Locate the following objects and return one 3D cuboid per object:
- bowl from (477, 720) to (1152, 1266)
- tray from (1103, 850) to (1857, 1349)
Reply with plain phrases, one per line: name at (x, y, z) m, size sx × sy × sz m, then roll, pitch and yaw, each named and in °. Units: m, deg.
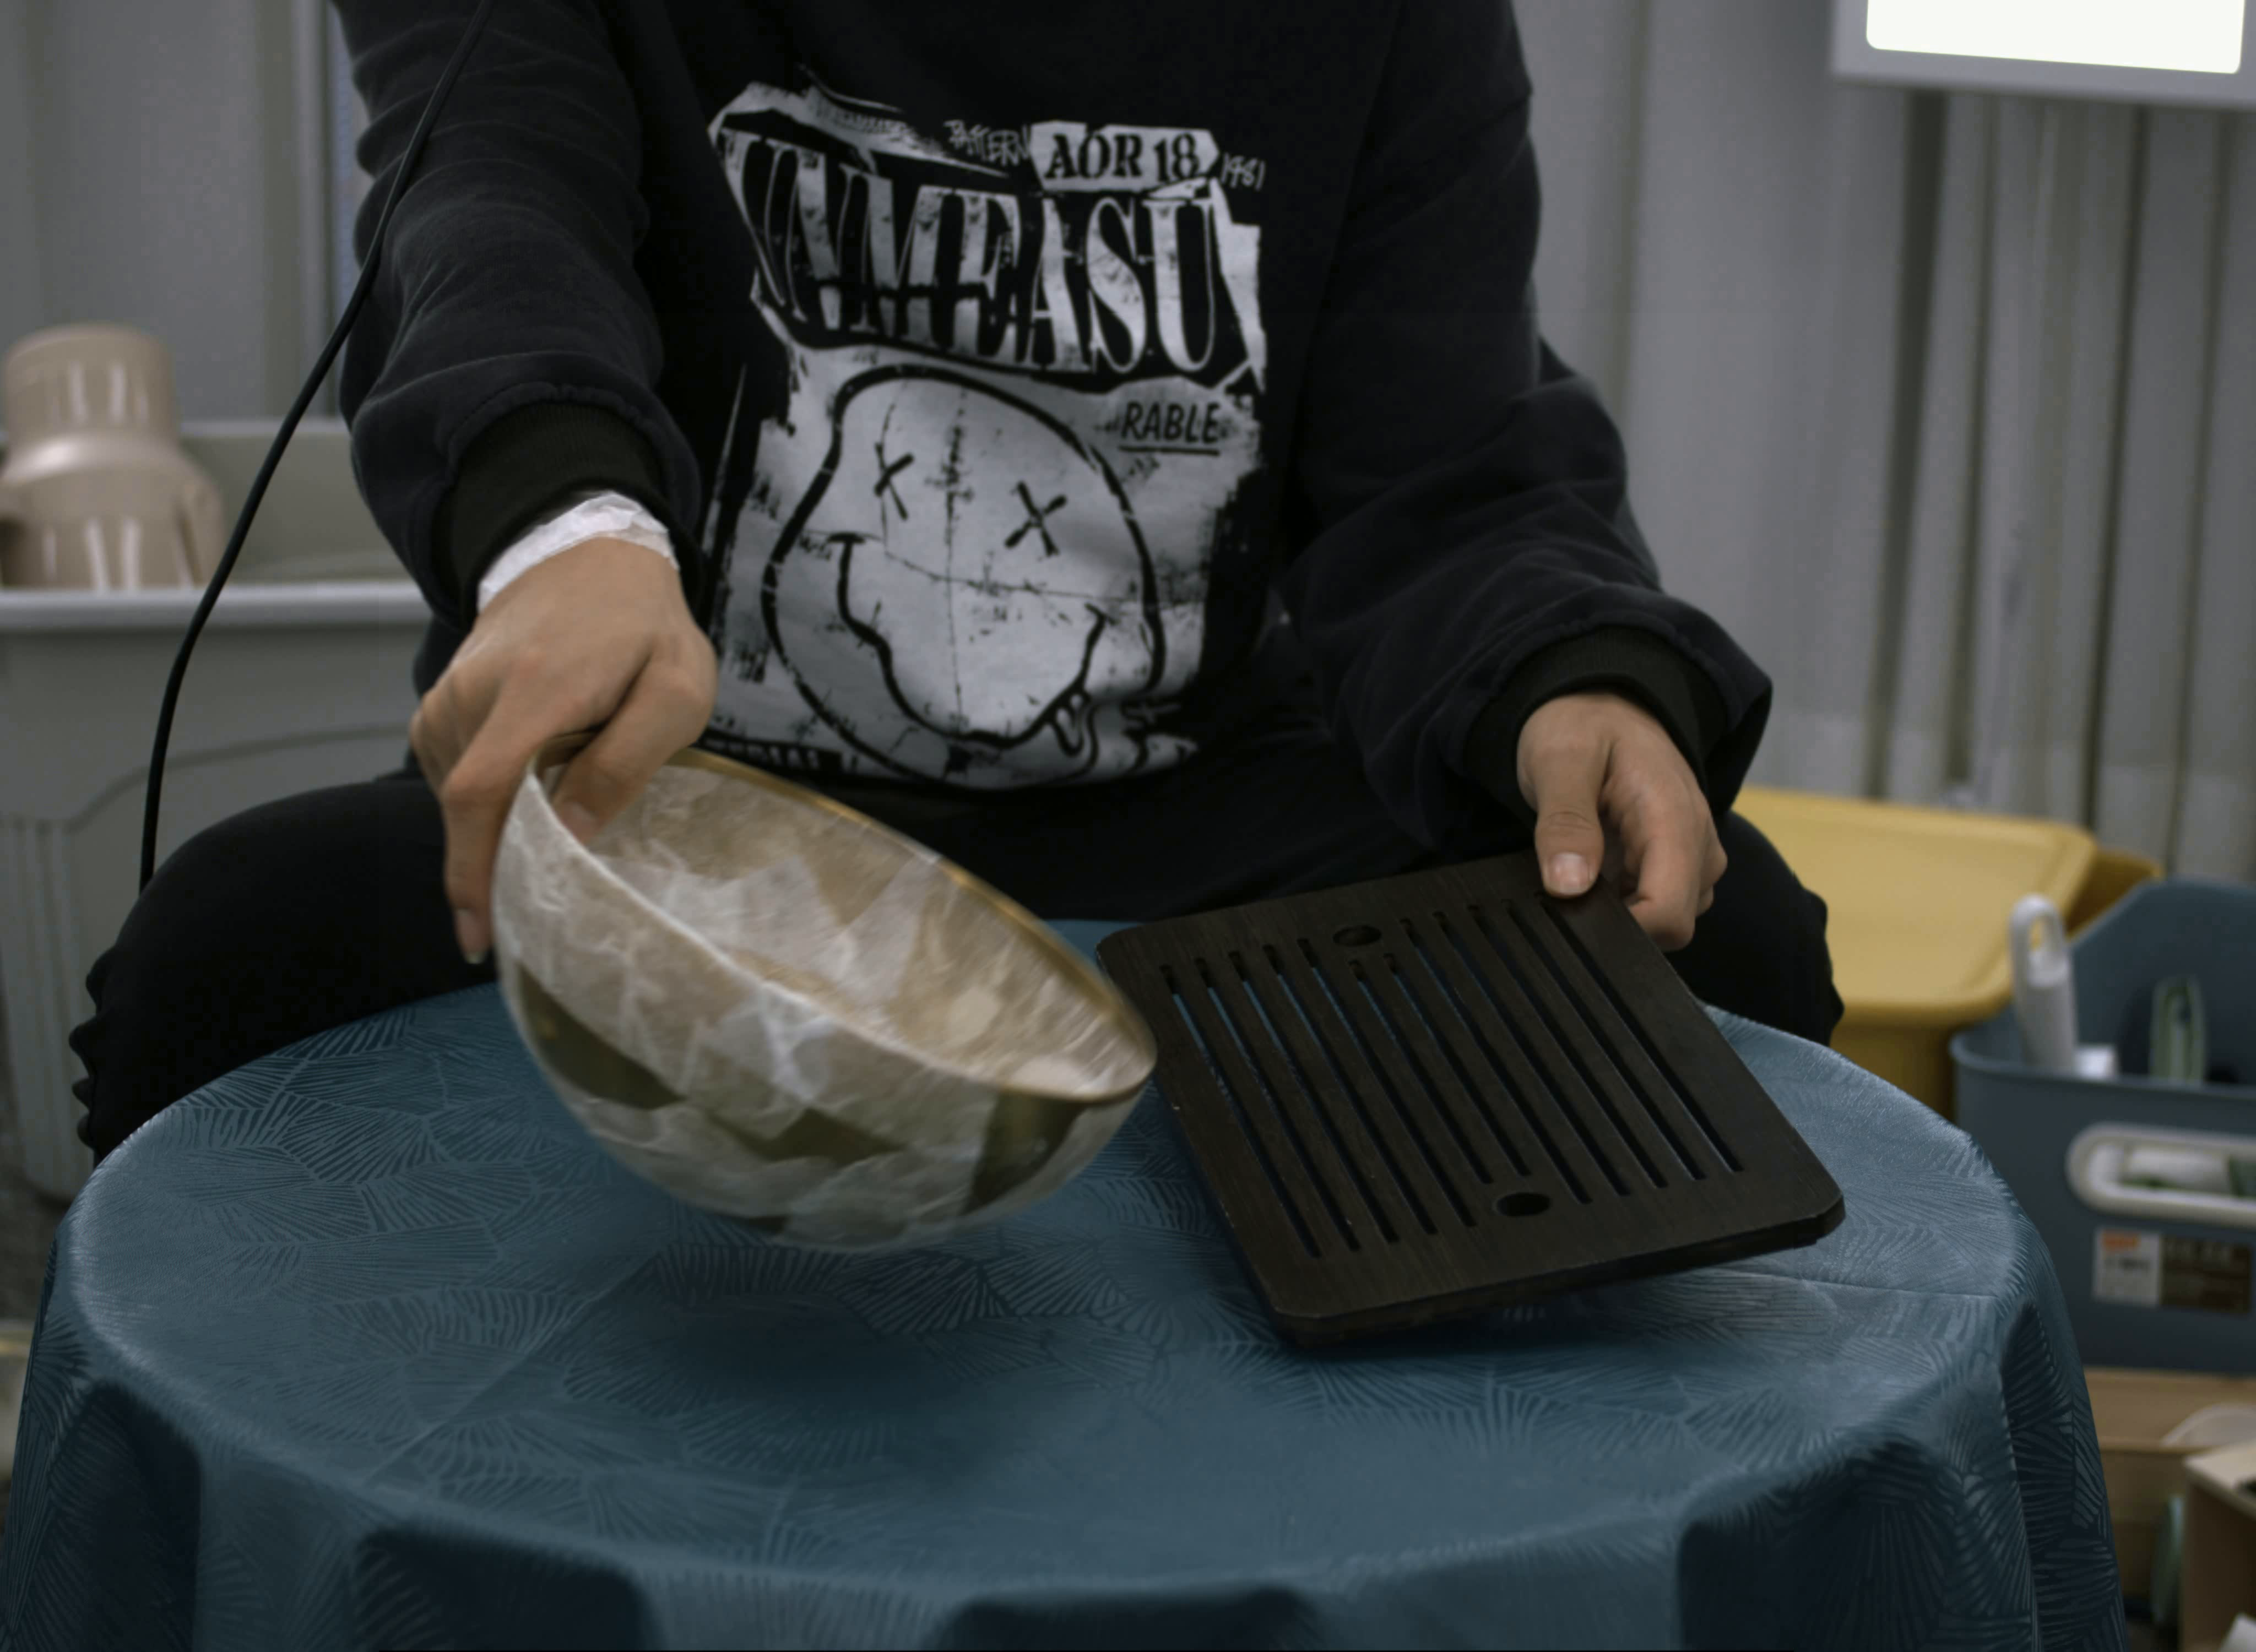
bowl at (-0.102, 0.064, 1.512) m, size 0.215 × 0.095 × 0.213 m, roll 28°, pitch 14°, yaw -7°
tray at (0.101, 0.080, 1.631) m, size 0.170 × 0.019 × 0.303 m, roll -10°, pitch 22°, yaw -8°
